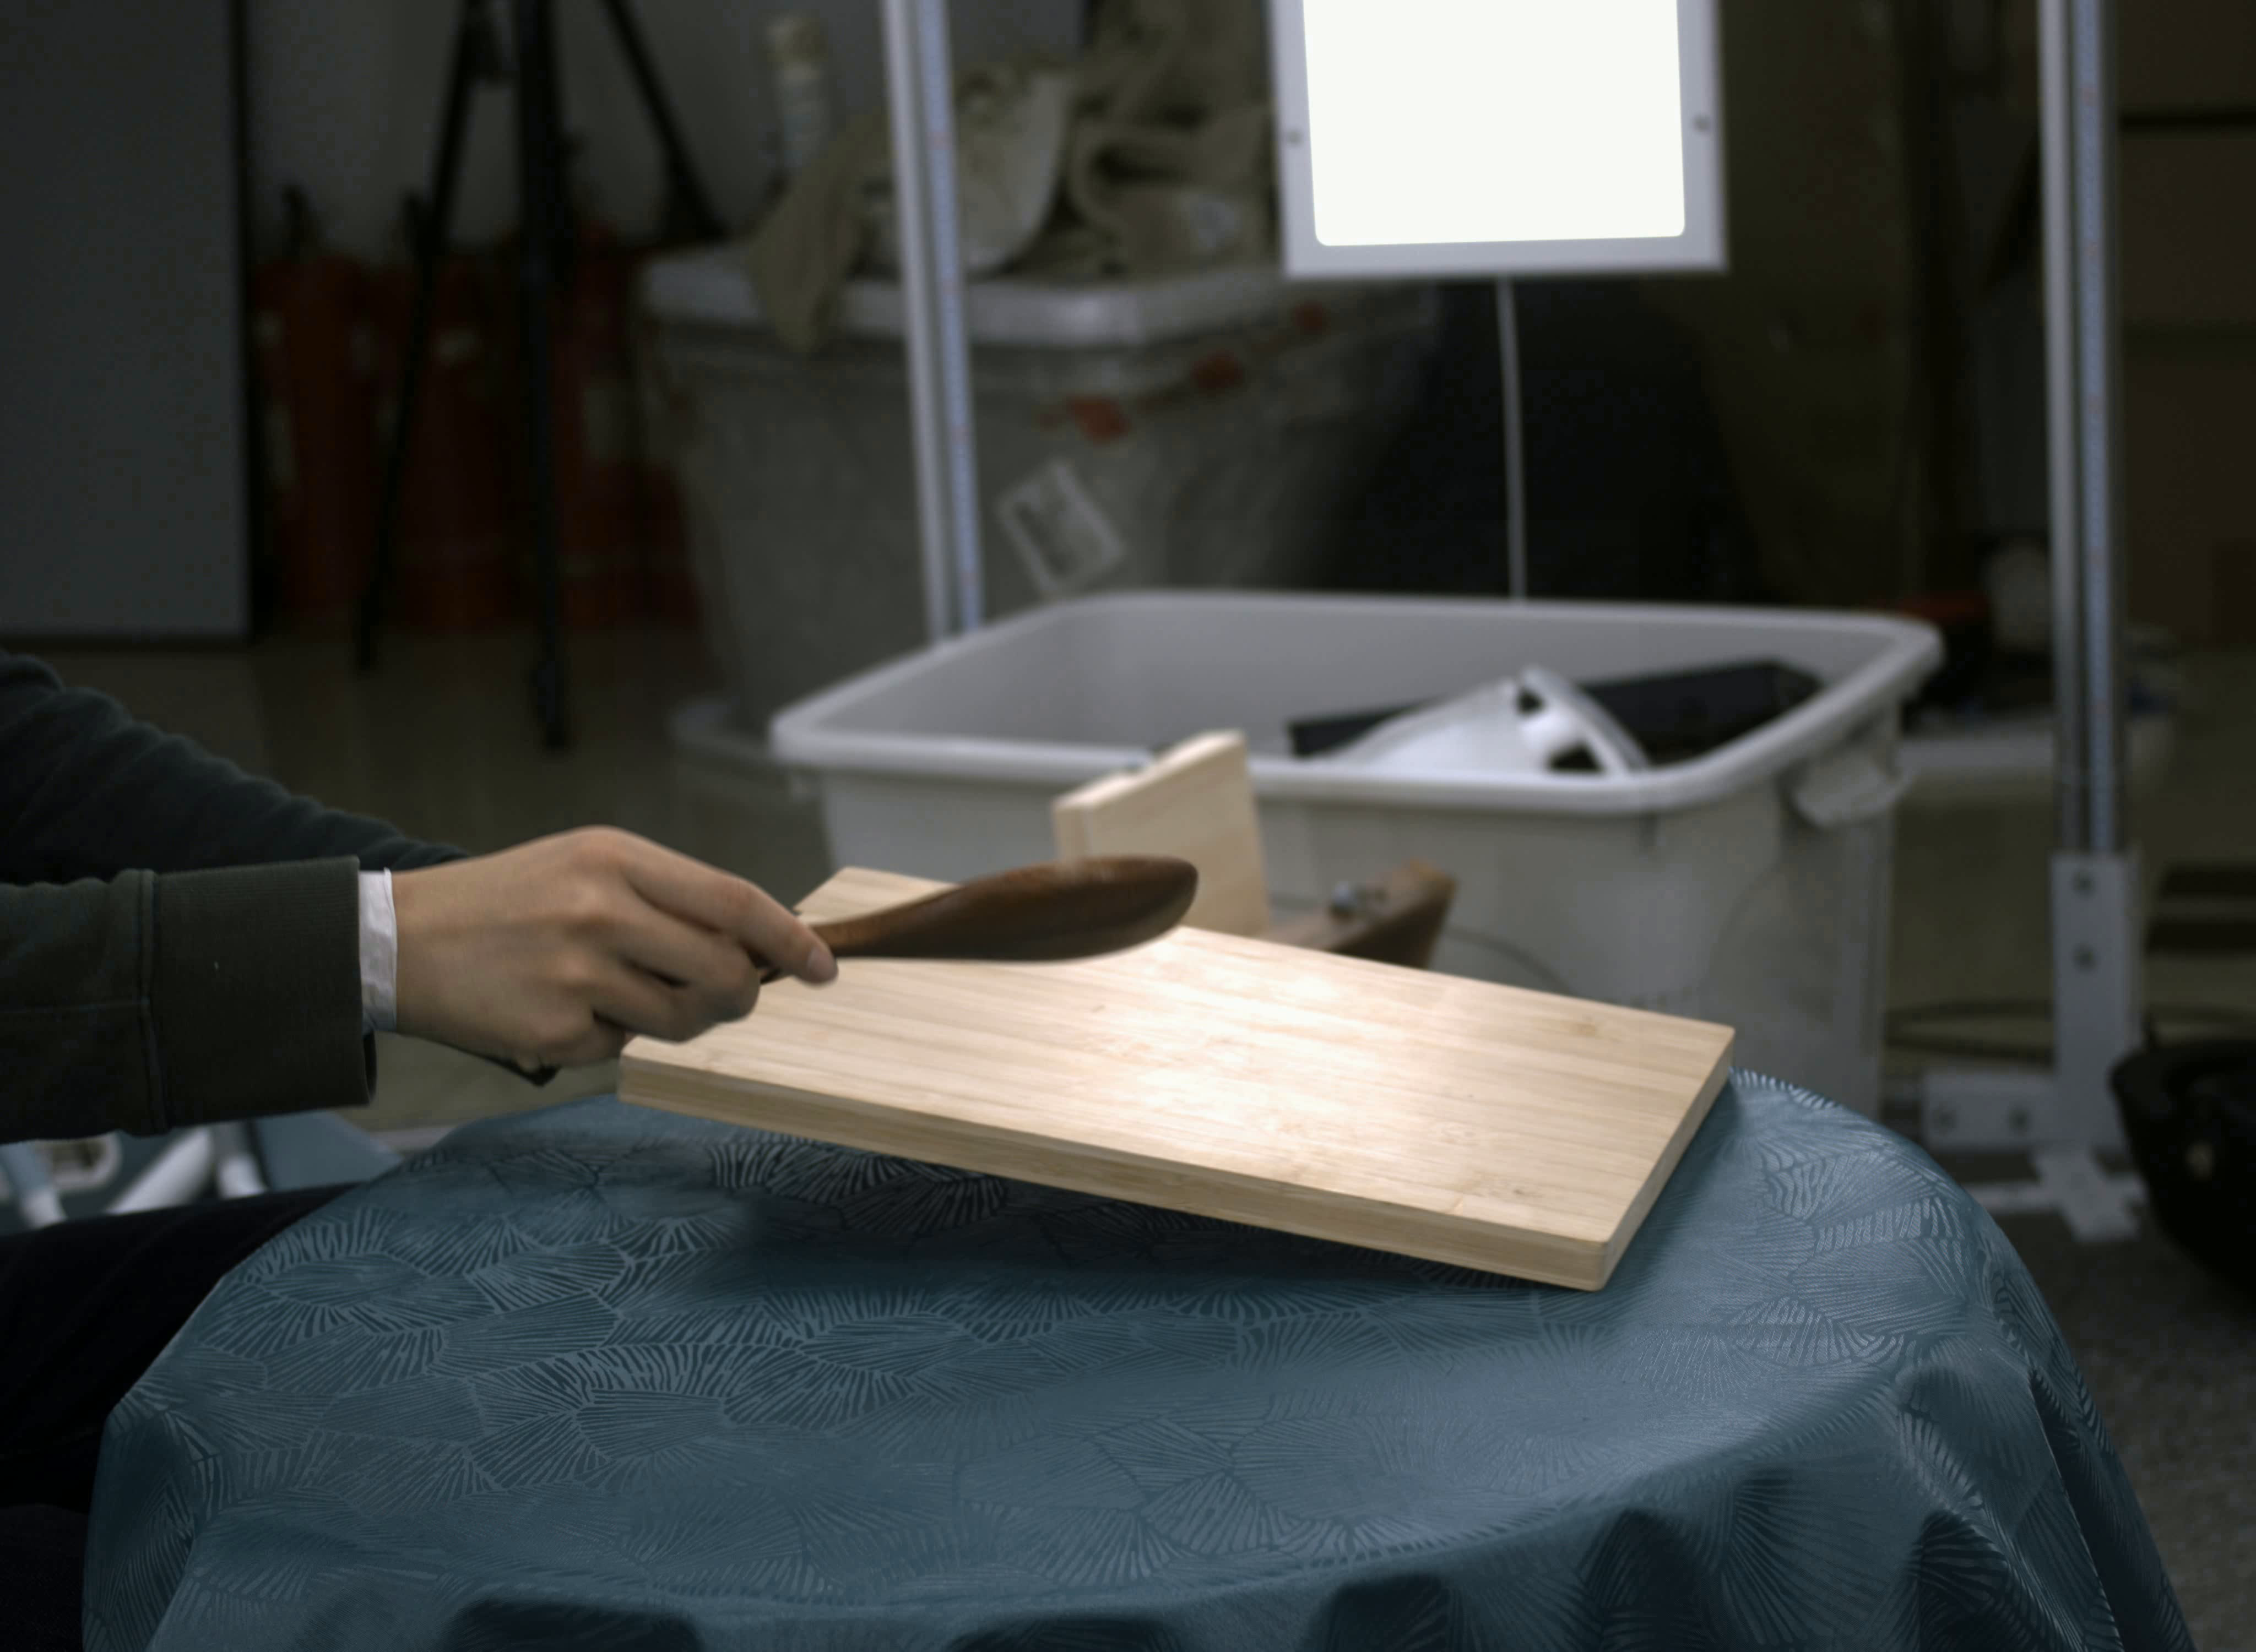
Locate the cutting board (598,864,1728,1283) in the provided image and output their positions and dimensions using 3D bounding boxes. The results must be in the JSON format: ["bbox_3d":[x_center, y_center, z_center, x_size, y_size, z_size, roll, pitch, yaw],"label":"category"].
[{"bbox_3d":[0.019,0.081,1.908,0.352,0.024,0.247,10,16,15],"label":"cutting board"}]

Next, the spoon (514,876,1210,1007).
[{"bbox_3d":[-0.081,0.038,1.691,0.215,0.017,0.075,-5,-15,0],"label":"spoon"}]
